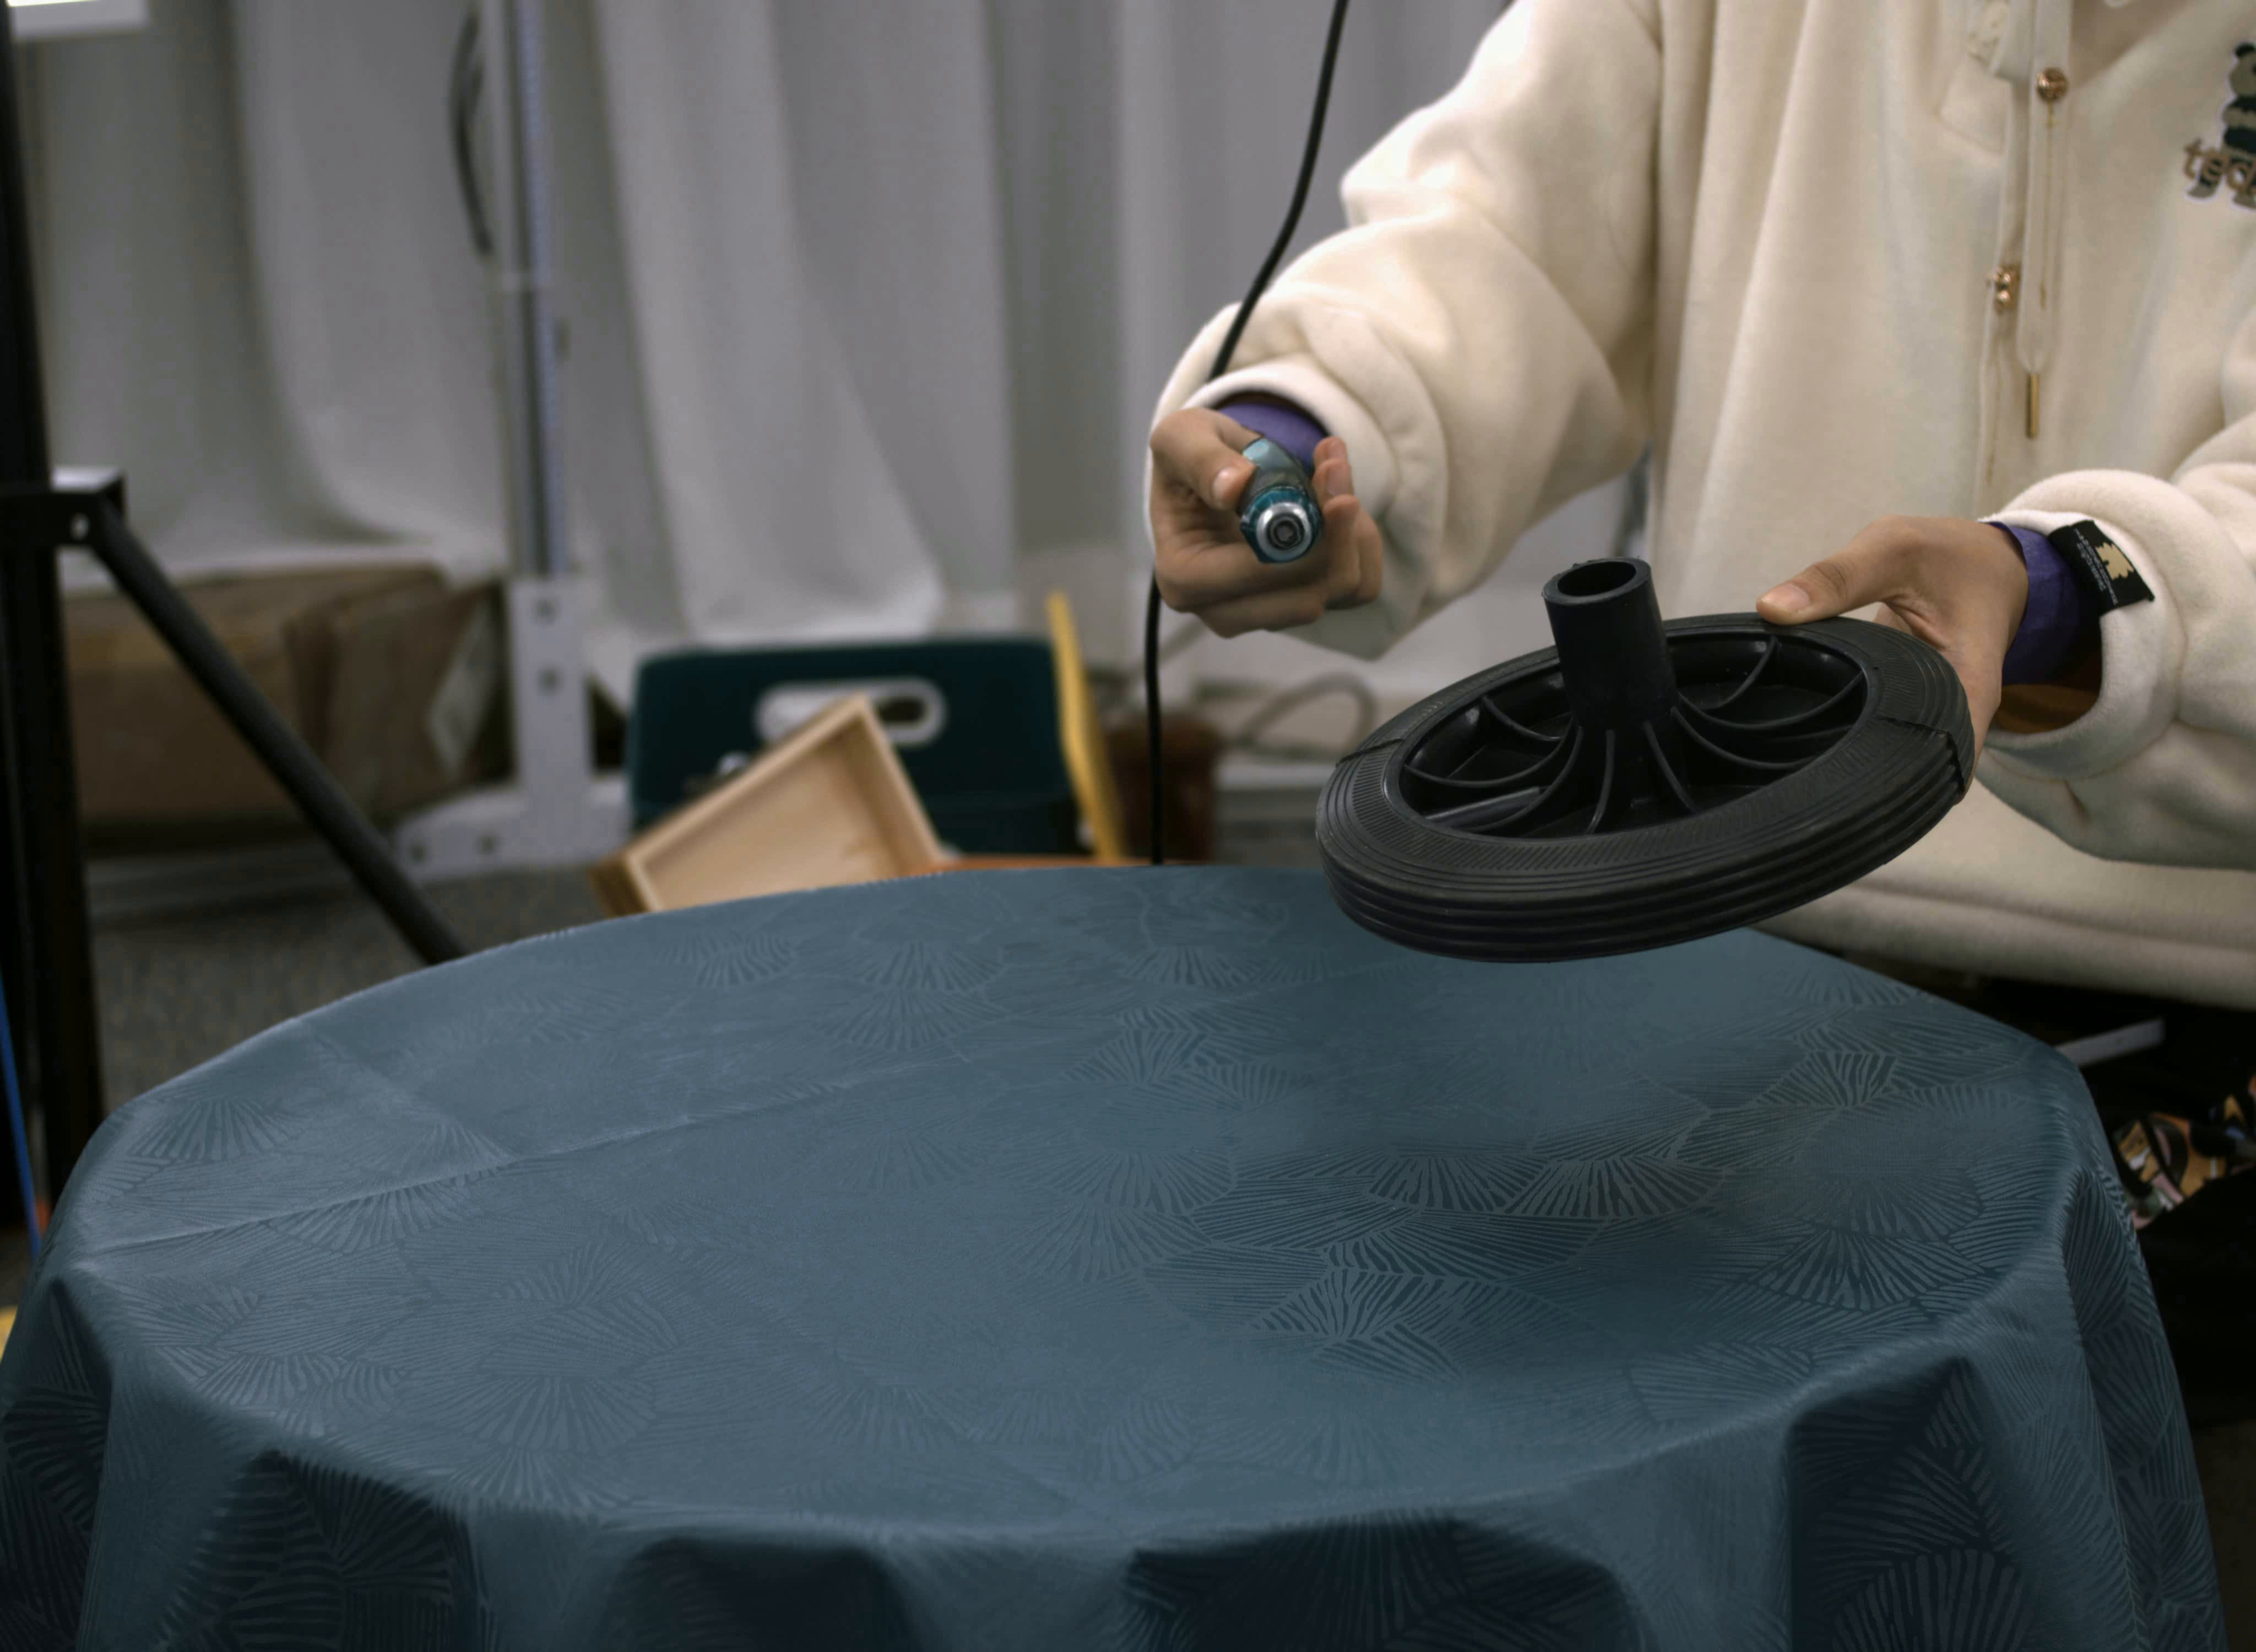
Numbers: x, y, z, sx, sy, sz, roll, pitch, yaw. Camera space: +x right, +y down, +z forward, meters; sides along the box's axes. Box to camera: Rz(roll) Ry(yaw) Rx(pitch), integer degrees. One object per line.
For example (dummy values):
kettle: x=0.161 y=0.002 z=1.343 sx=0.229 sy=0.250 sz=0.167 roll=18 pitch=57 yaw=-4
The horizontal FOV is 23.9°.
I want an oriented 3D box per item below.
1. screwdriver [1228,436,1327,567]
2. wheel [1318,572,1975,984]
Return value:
screwdriver: x=0.049 y=-0.097 z=1.655 sx=0.033 sy=0.034 sz=0.190 roll=-2 pitch=10 yaw=-1
wheel: x=0.139 y=-0.028 z=1.488 sx=0.187 sy=0.078 sz=0.191 roll=-27 pitch=25 yaw=-21
